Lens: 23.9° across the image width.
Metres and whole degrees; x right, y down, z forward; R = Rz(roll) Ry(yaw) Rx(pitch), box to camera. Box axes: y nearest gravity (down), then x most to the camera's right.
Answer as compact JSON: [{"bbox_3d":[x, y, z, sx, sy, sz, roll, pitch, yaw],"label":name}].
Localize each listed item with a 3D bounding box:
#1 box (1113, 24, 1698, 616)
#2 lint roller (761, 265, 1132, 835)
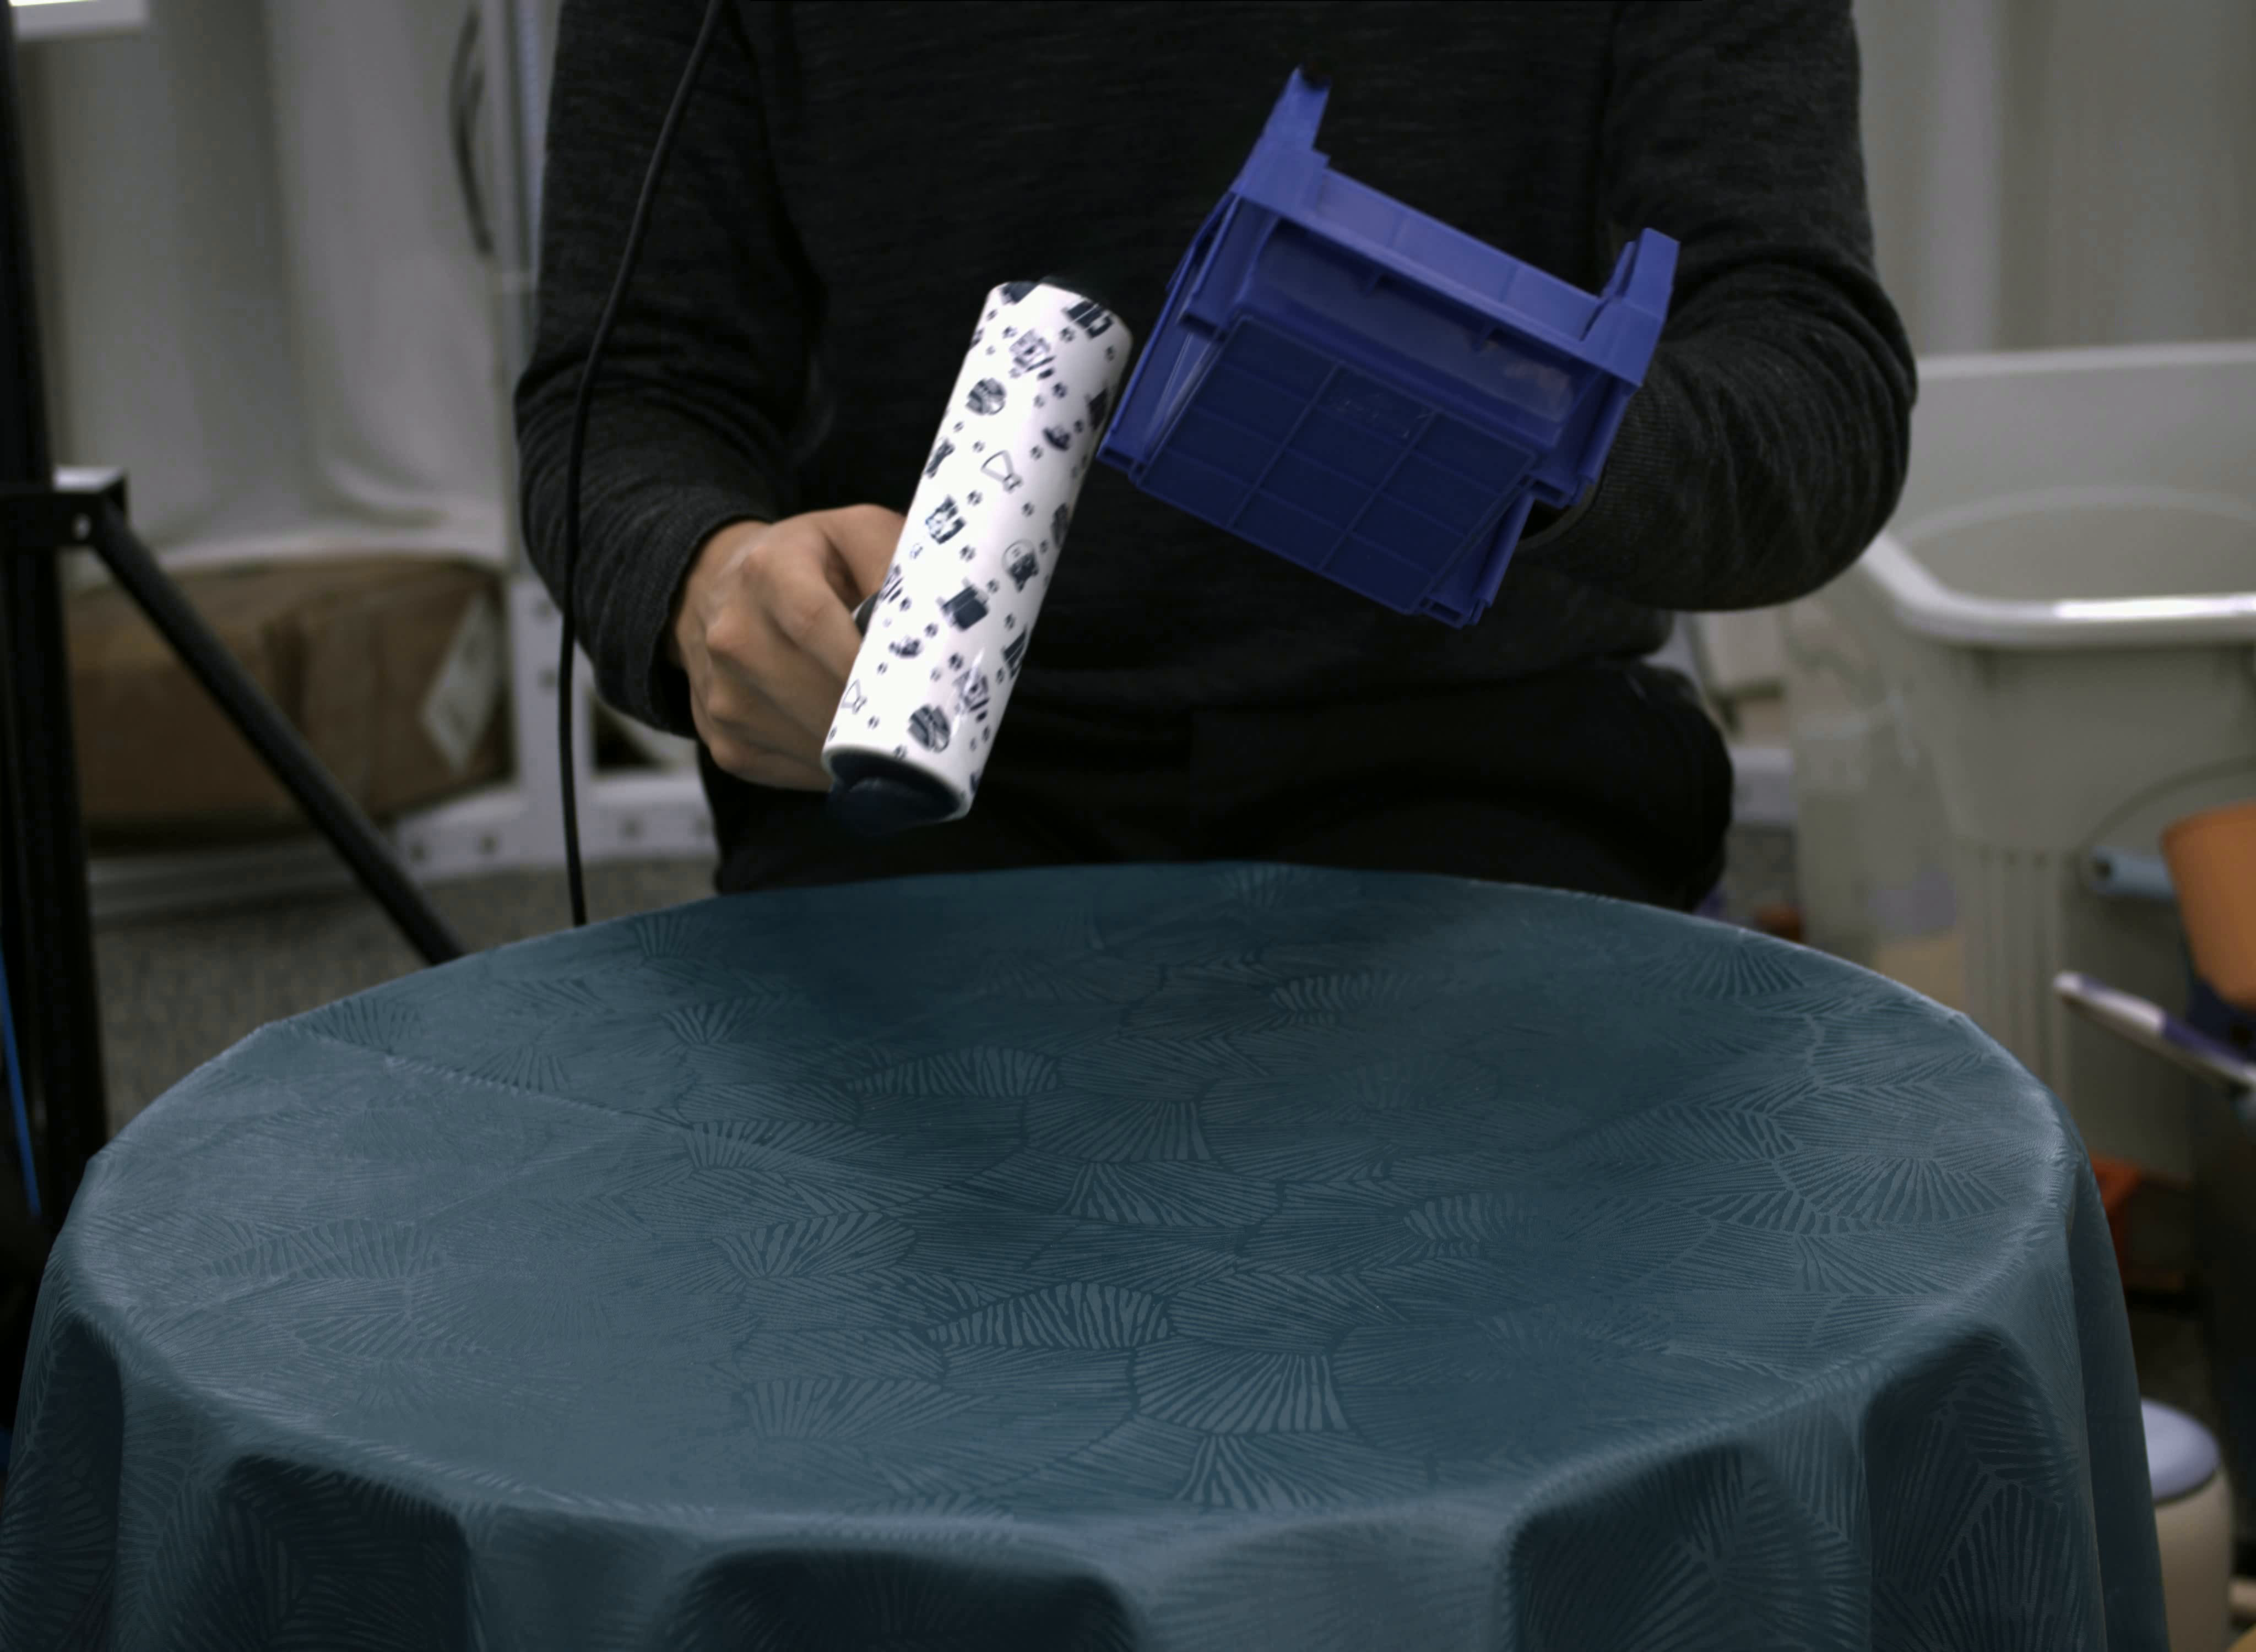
[{"bbox_3d":[0.080,-0.142,1.511,0.124,0.082,0.180,26,-24,-2],"label":"box"},{"bbox_3d":[-0.079,-0.061,1.691,0.049,0.177,0.250,24,-22,-15],"label":"lint roller"}]
